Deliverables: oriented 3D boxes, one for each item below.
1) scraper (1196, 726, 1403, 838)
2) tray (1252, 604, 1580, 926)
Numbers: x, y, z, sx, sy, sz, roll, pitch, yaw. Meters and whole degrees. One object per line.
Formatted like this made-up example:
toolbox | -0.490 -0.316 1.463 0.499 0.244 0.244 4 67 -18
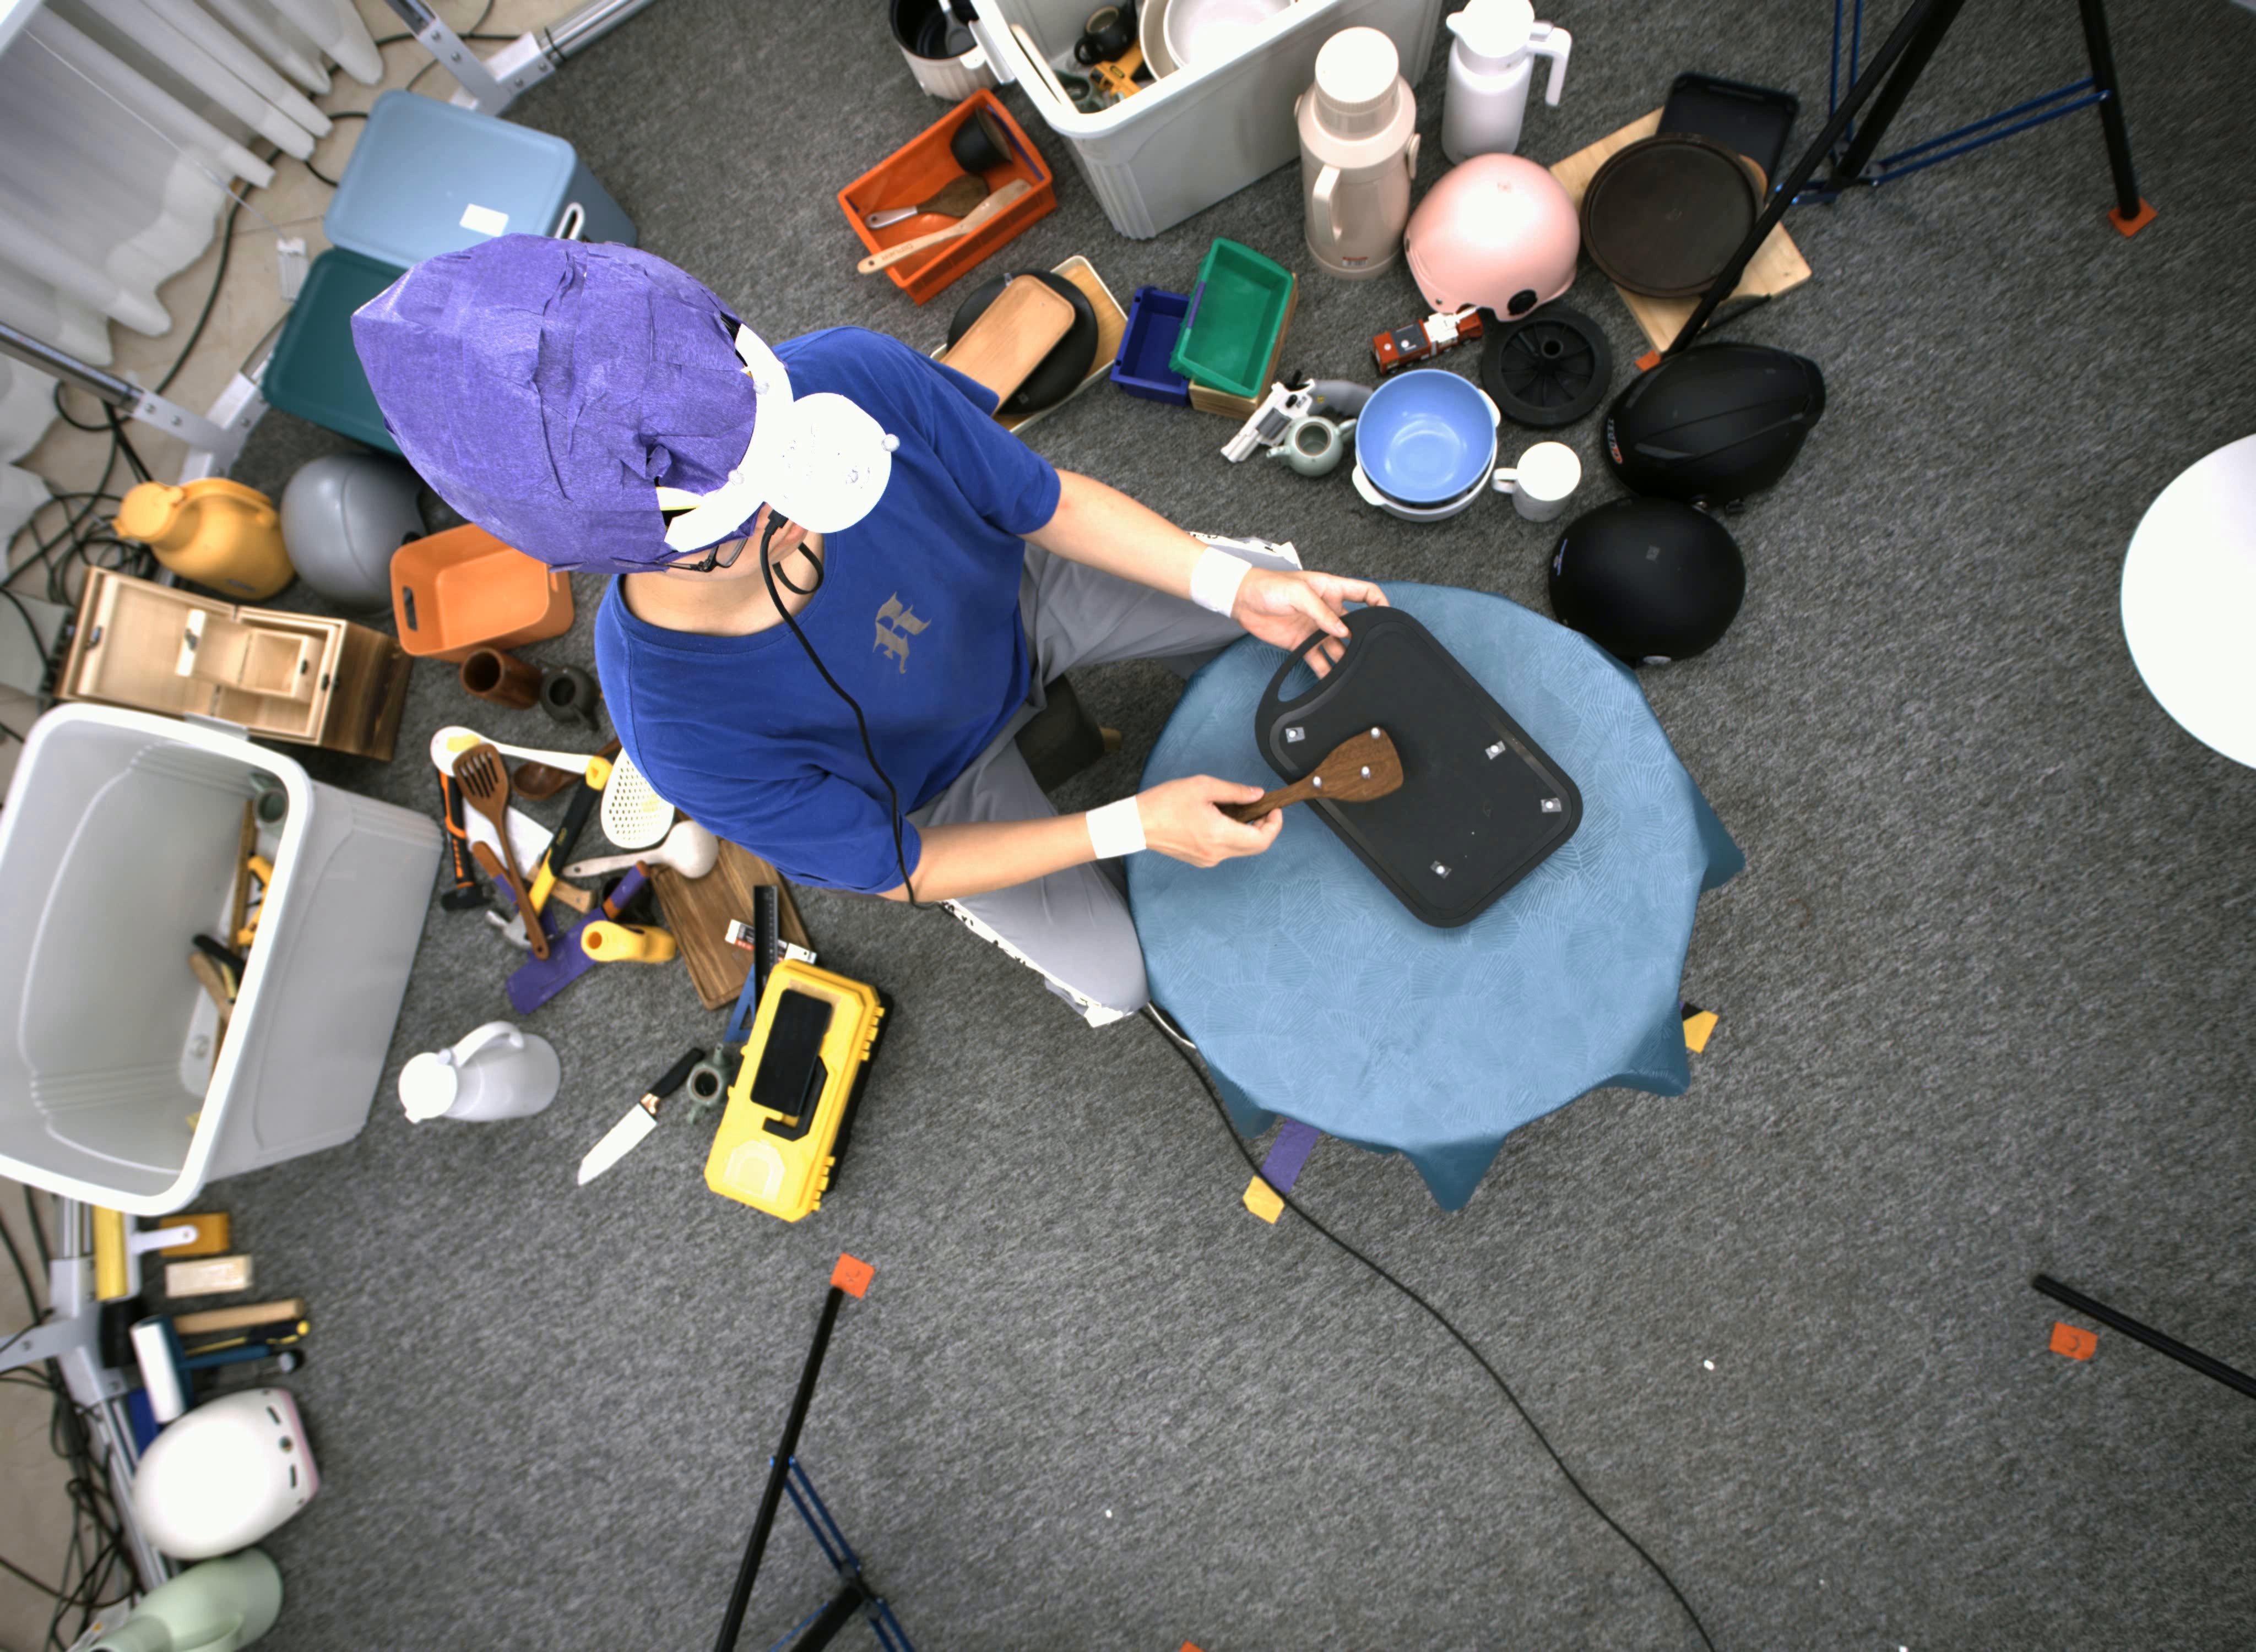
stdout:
scraper | 0.167 -0.035 1.368 0.213 0.011 0.074 -21 59 13
tray | 0.278 -0.064 1.374 0.325 0.009 0.215 46 113 -1
